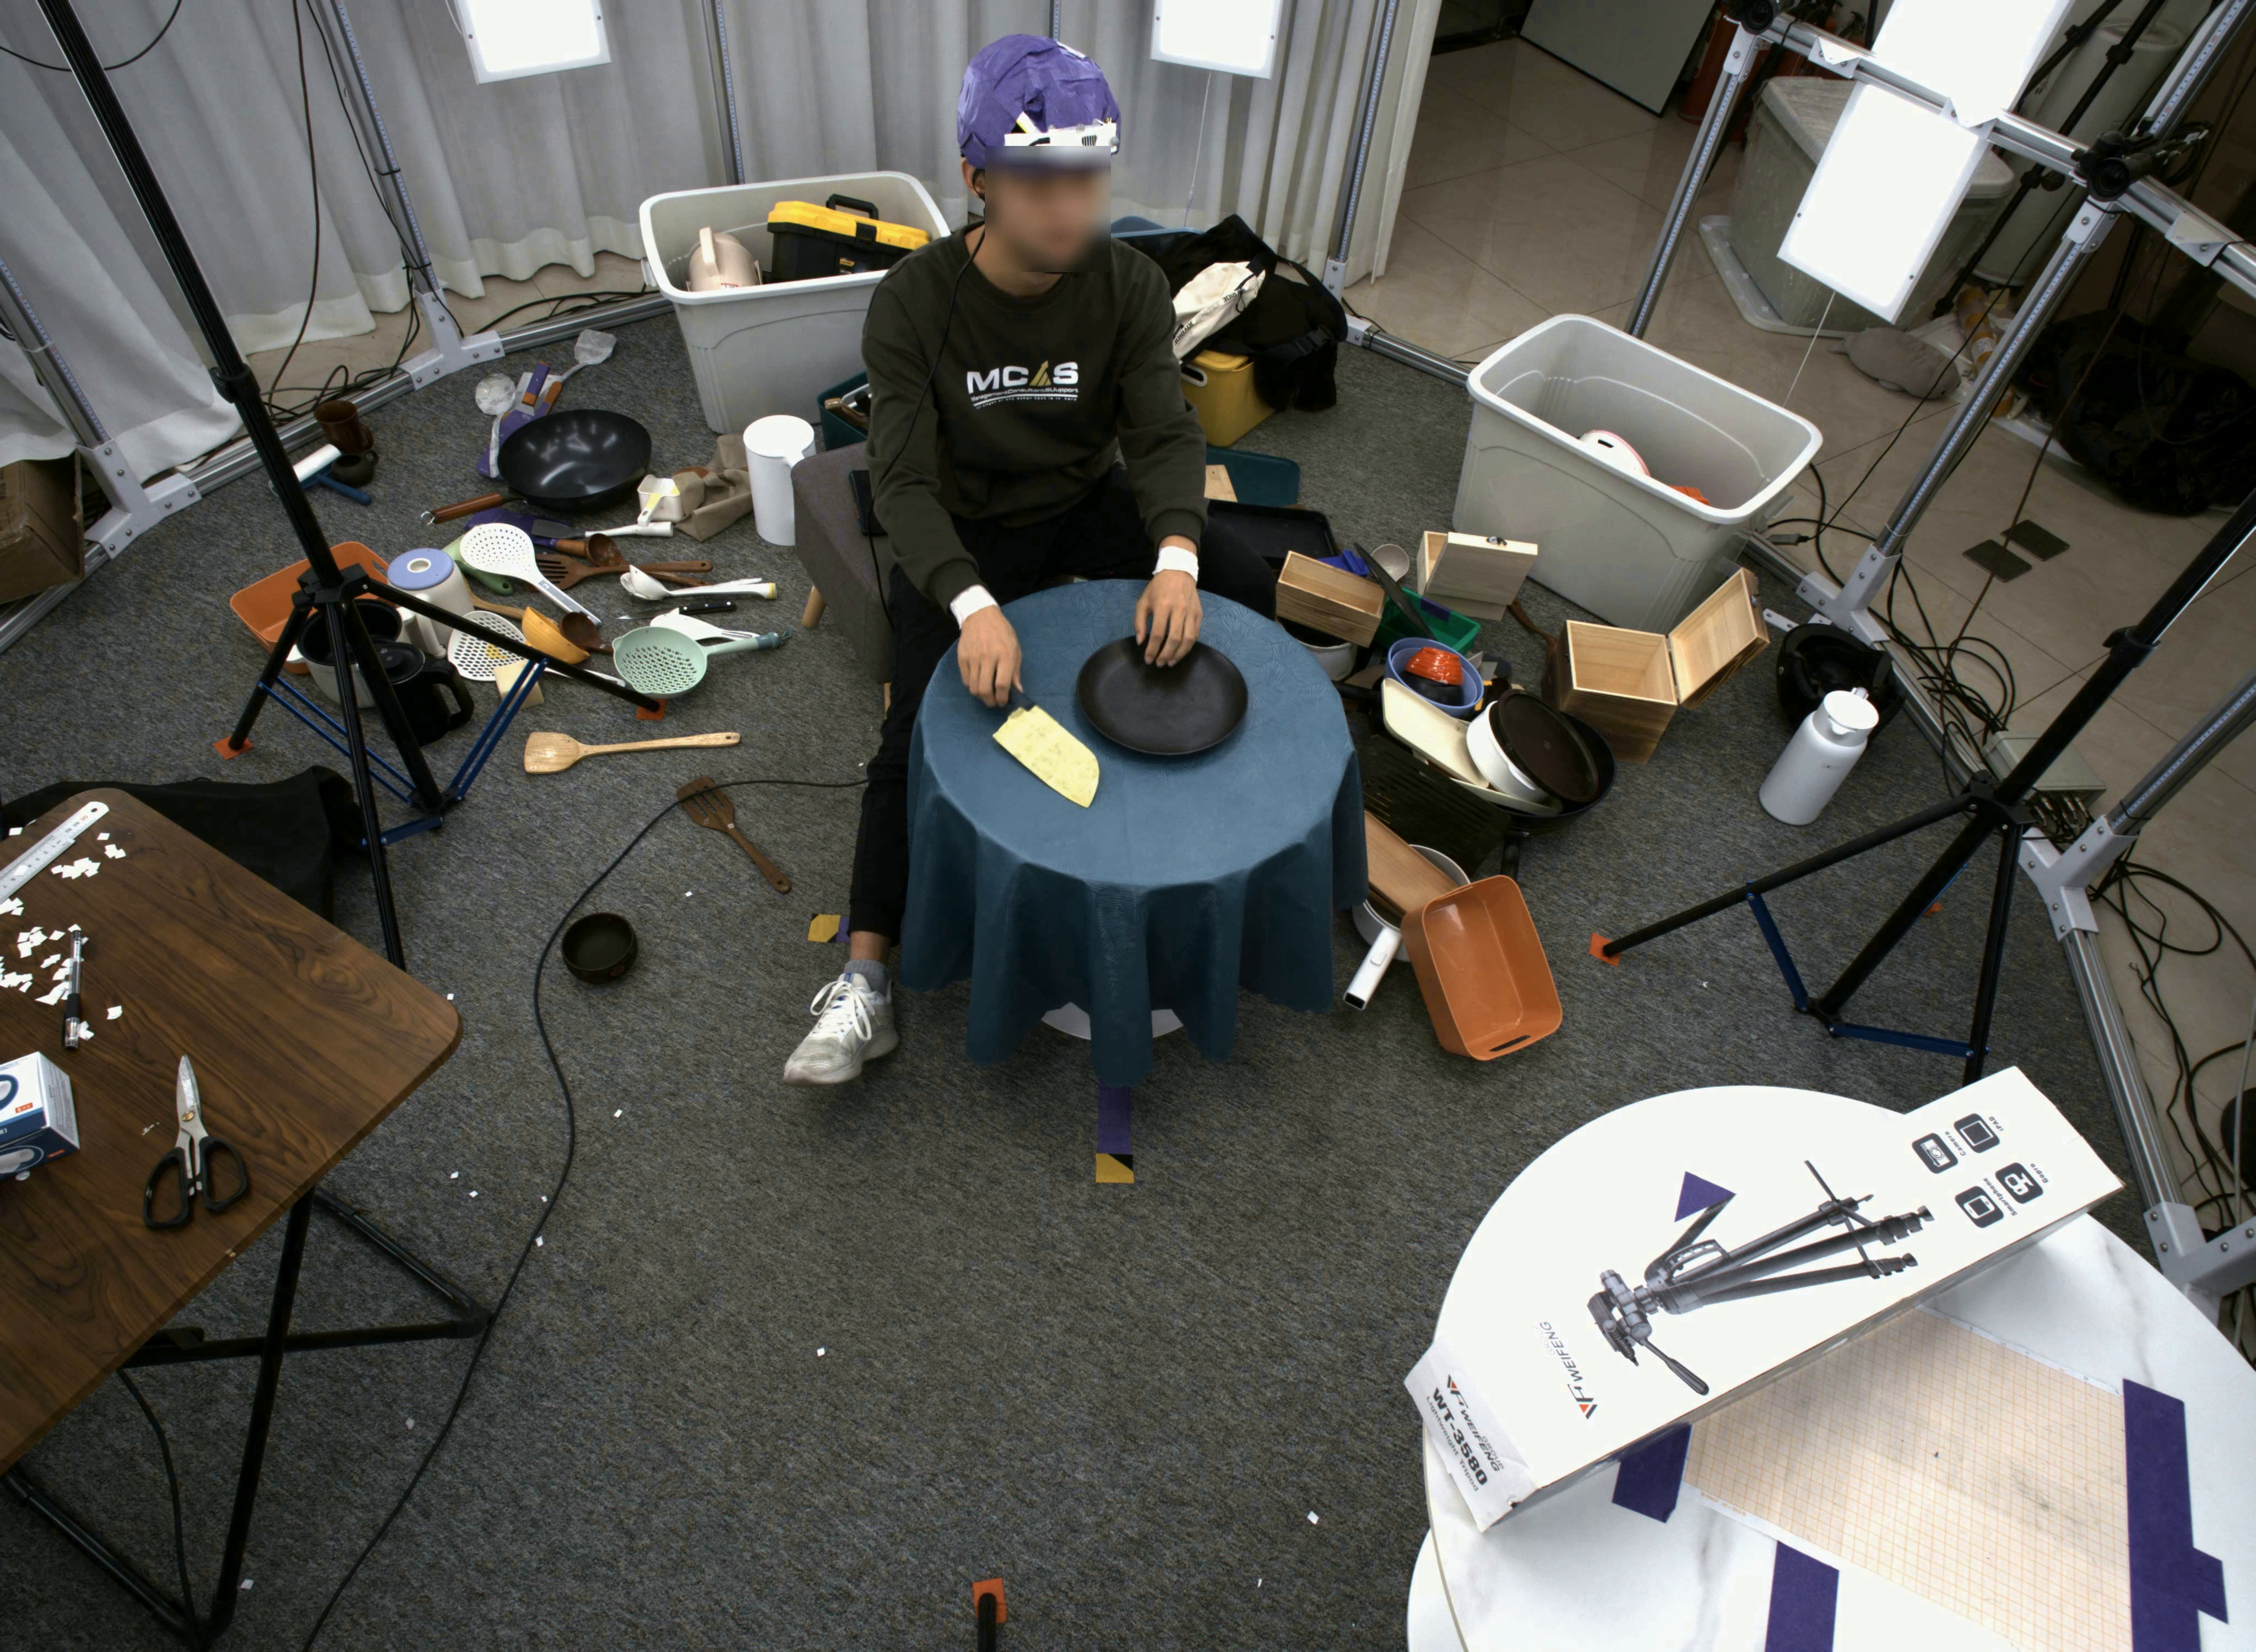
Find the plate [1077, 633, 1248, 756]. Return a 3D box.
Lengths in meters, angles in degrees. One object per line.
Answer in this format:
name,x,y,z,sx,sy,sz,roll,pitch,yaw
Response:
plate,0.048,-0.184,1.815,0.244,0.023,0.250,2,49,-2

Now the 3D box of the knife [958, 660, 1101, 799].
knife,-0.141,-0.131,1.743,0.081,0.026,0.294,-41,66,-14
